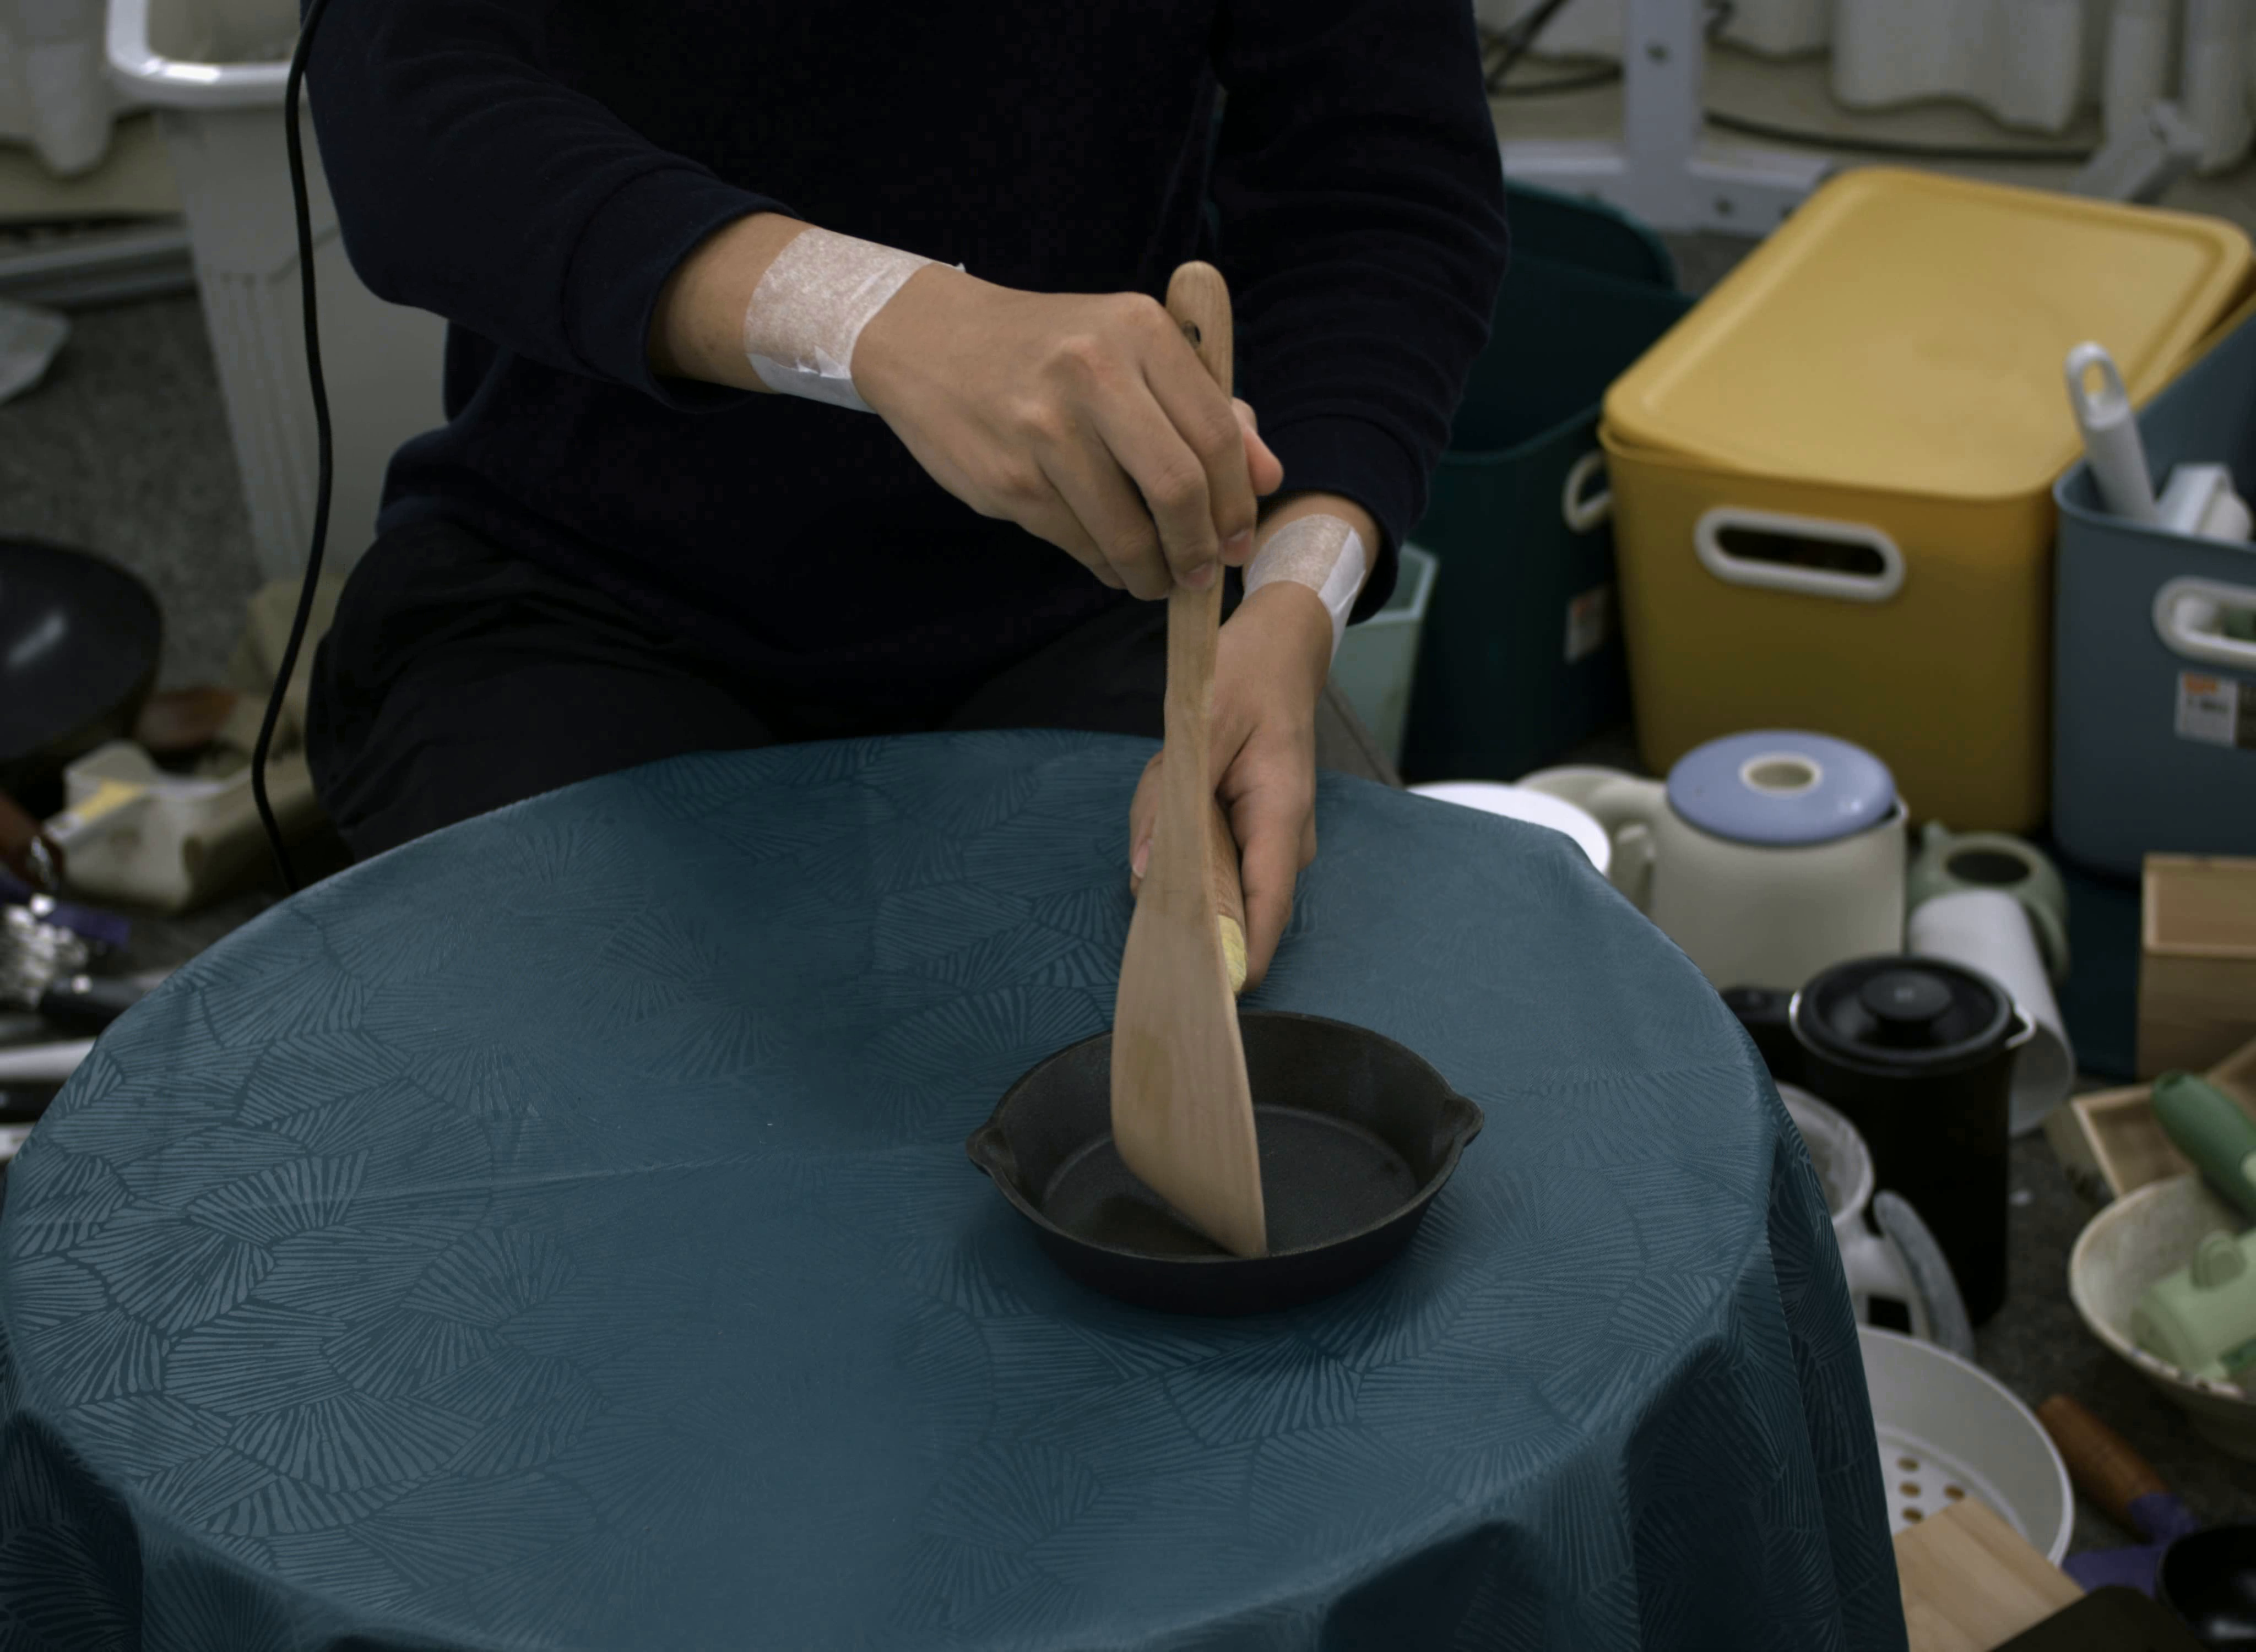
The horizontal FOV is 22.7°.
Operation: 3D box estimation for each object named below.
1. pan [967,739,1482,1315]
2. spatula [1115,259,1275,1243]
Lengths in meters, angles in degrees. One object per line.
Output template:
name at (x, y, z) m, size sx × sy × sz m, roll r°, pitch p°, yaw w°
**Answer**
pan at (0.032, 0.066, 1.912) m, size 0.168 × 0.049 × 0.329 m, roll -2°, pitch 29°, yaw 1°
spatula at (0.022, -0.019, 1.786) m, size 0.016 × 0.326 × 0.080 m, roll -10°, pitch 20°, yaw -36°
